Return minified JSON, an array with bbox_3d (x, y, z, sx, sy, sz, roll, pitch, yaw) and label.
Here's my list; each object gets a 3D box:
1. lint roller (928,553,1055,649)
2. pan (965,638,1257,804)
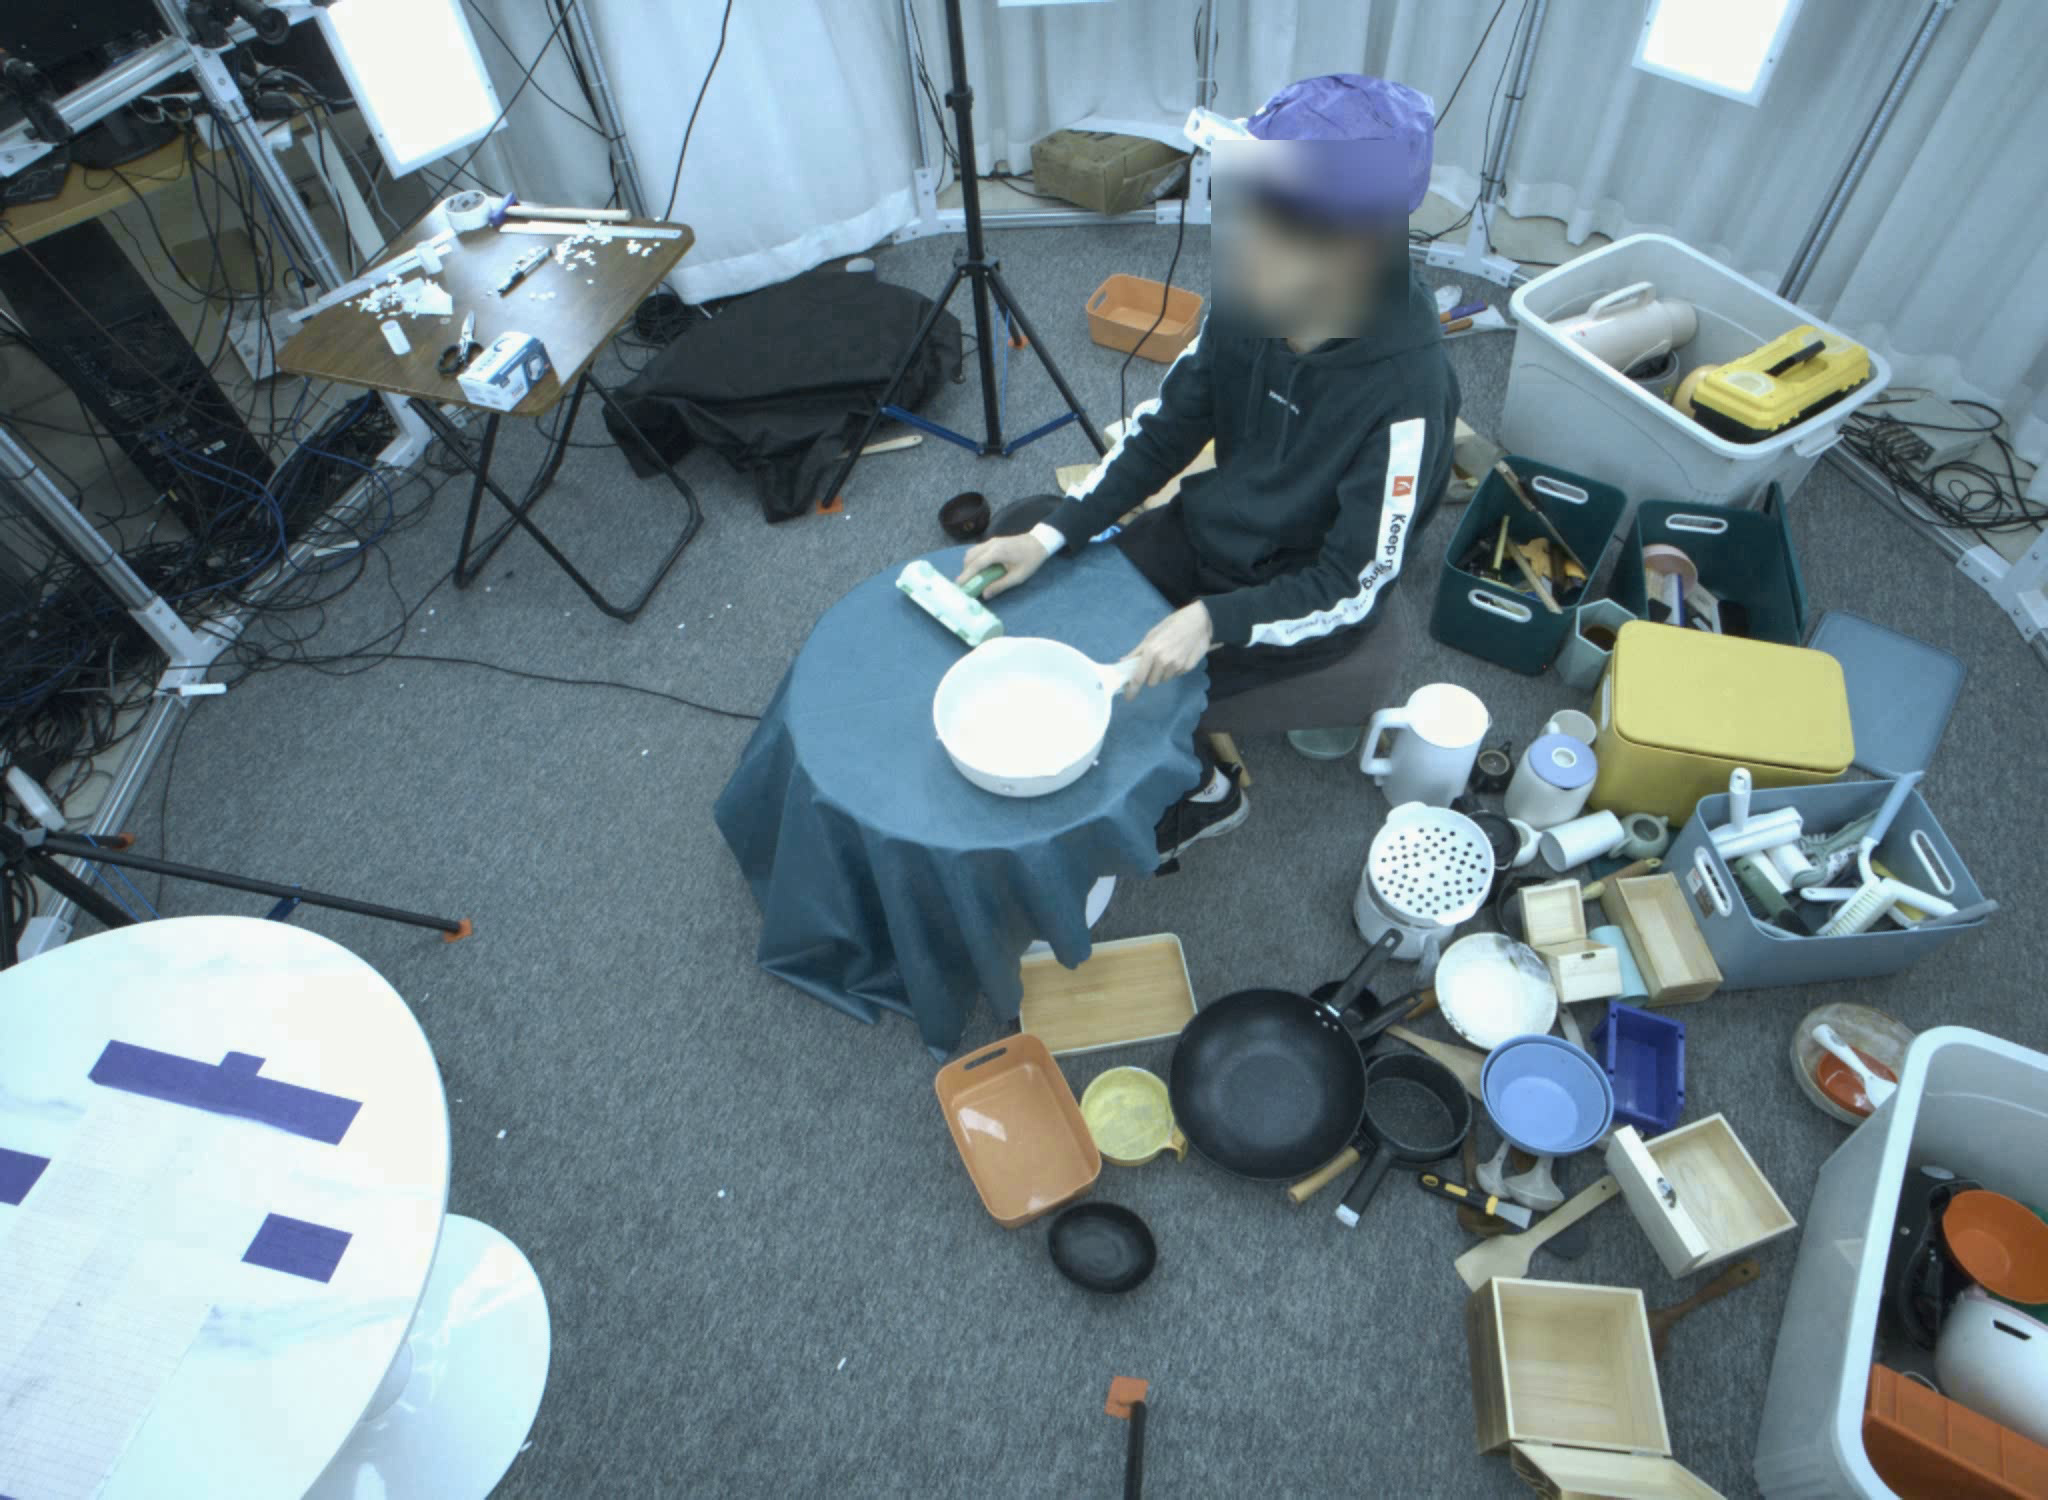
[{"bbox_3d":[-0.027,-0.267,1.920,0.184,0.083,0.195,-42,62,-13],"label":"lint roller"},{"bbox_3d":[0.131,-0.062,1.761,0.438,0.103,0.259,-16,54,-11],"label":"pan"}]
